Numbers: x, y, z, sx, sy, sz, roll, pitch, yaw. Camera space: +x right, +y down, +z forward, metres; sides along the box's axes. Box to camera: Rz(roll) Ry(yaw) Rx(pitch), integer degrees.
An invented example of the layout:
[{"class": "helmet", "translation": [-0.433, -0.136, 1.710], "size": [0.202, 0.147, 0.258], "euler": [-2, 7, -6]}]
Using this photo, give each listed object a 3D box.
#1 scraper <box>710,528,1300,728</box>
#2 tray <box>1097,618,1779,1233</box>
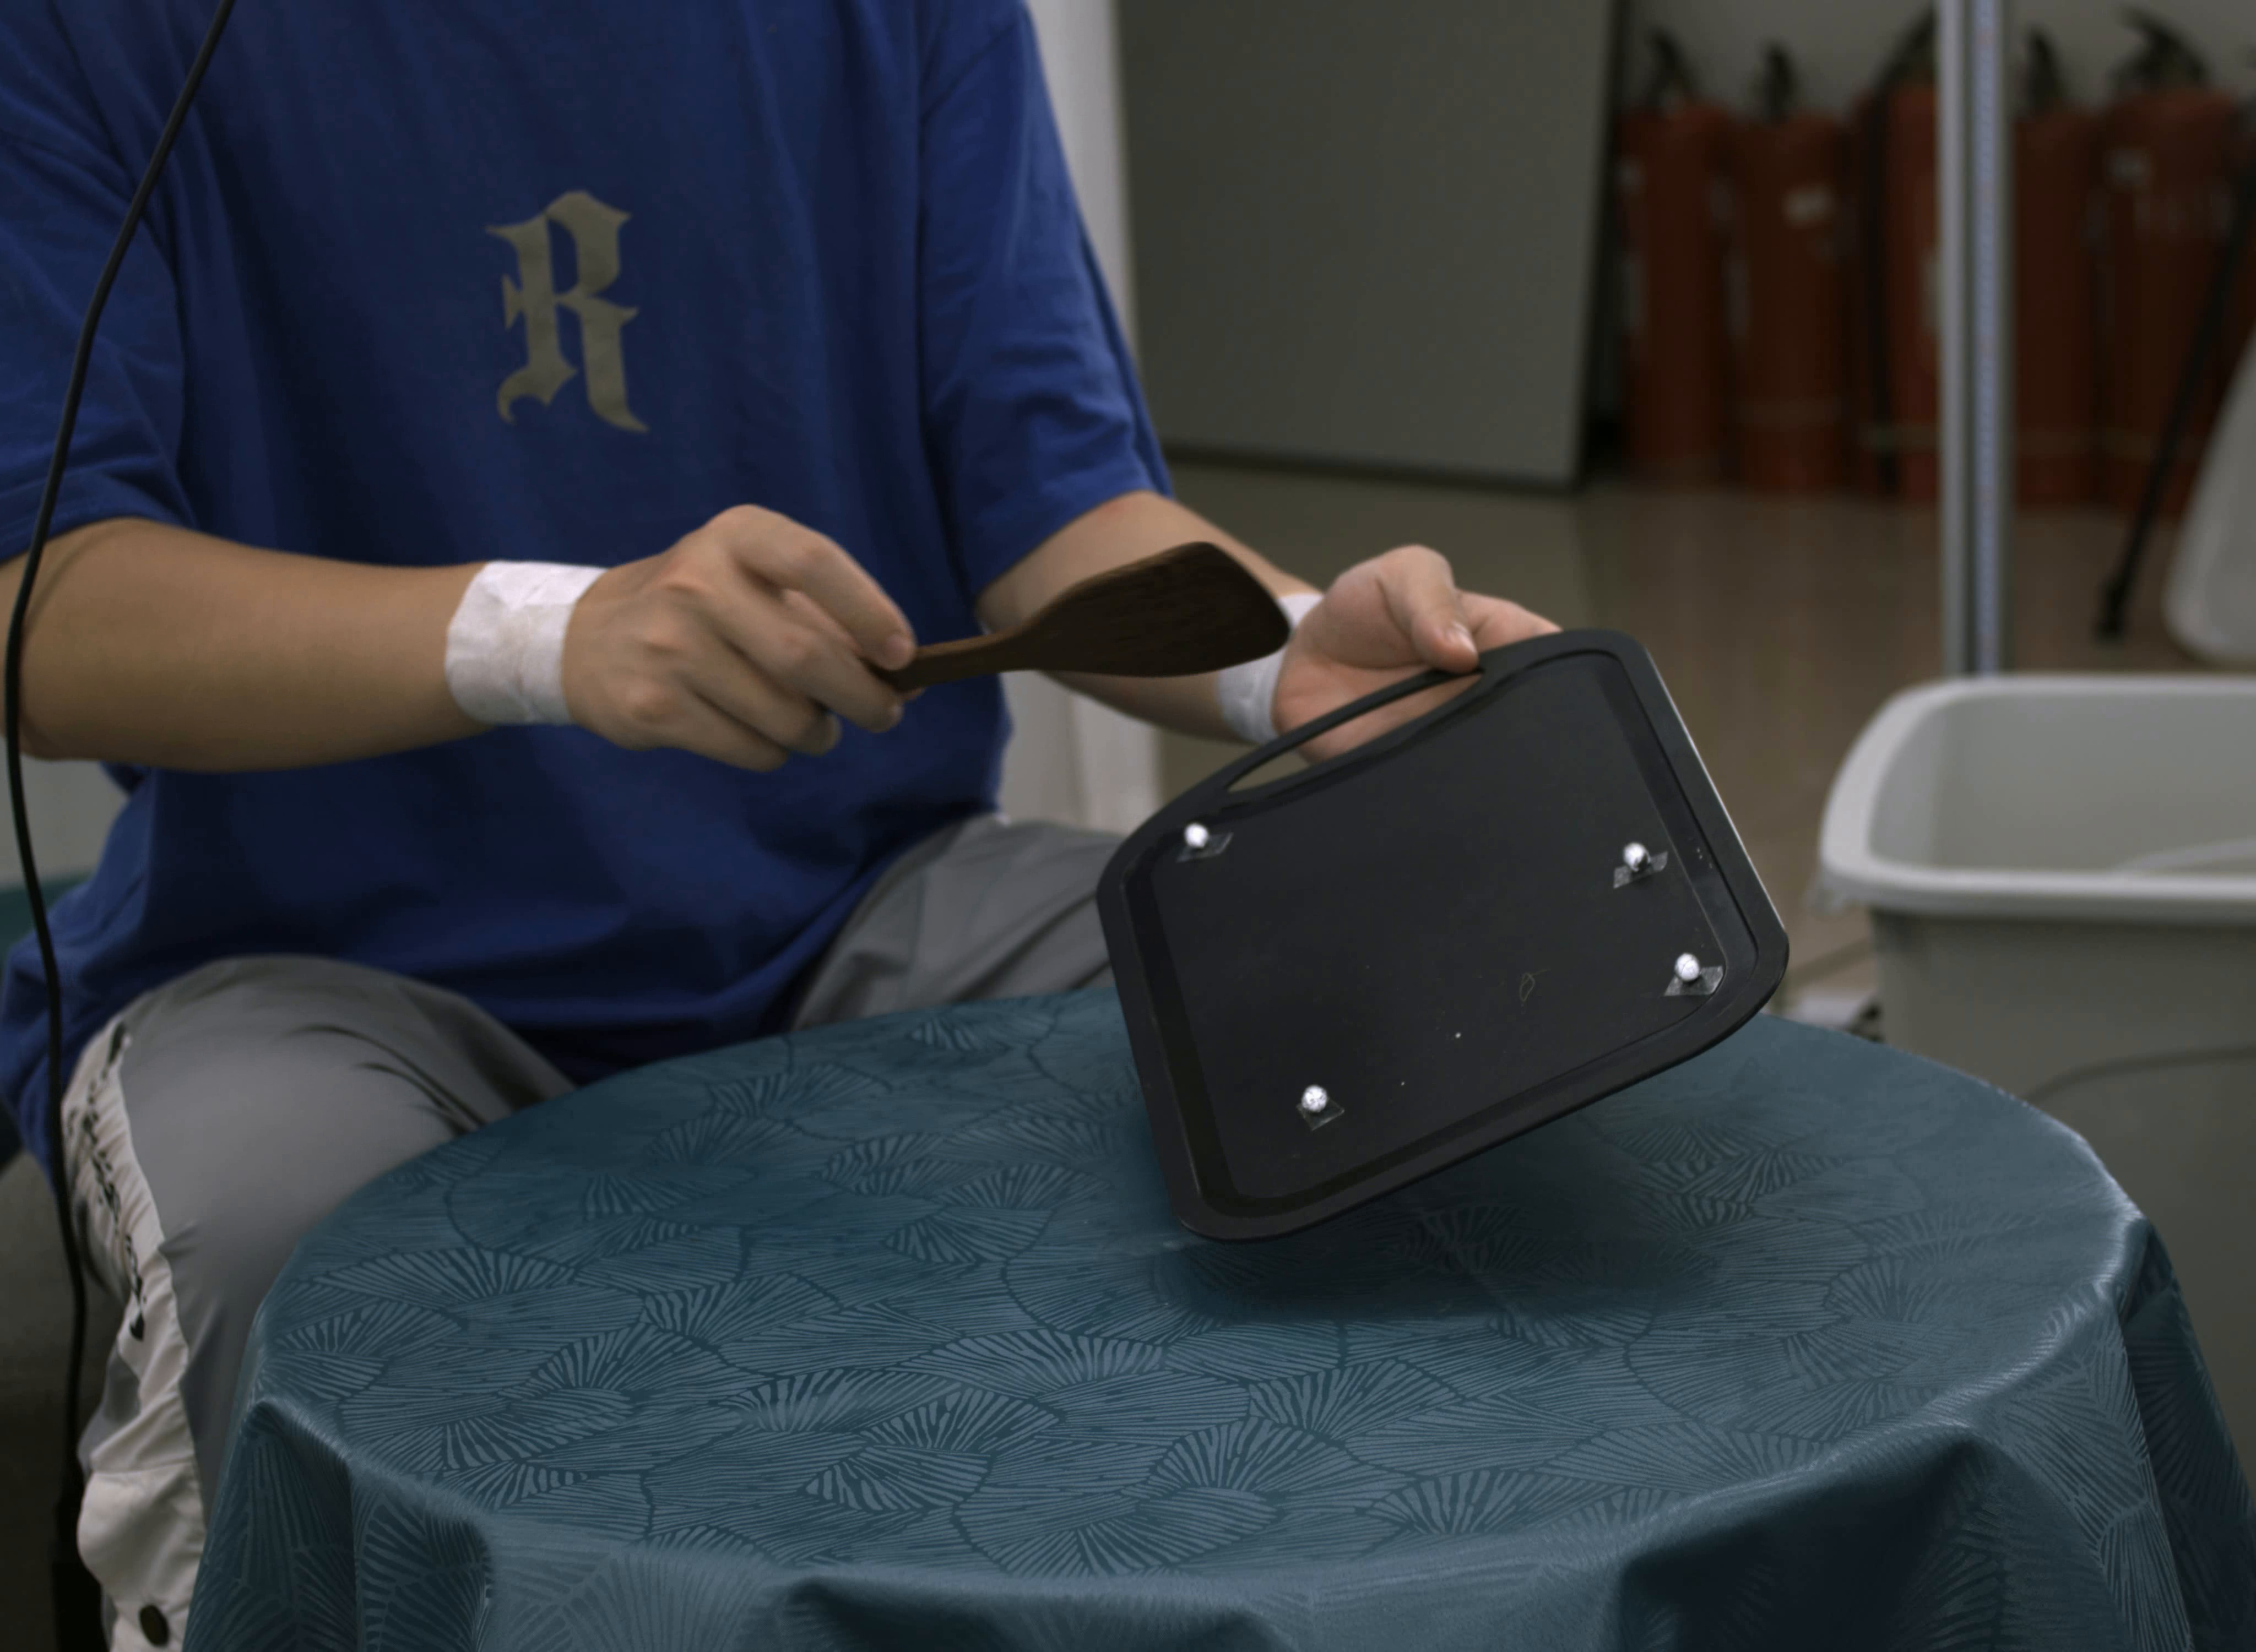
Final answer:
[{"class": "scraper", "translation": [-0.046, -0.058, 1.793], "size": [0.212, 0.011, 0.075], "euler": [-12, -31, 27]}, {"class": "tray", "translation": [0.092, 0.022, 1.765], "size": [0.210, 0.010, 0.327], "euler": [-26, 25, 6]}]
